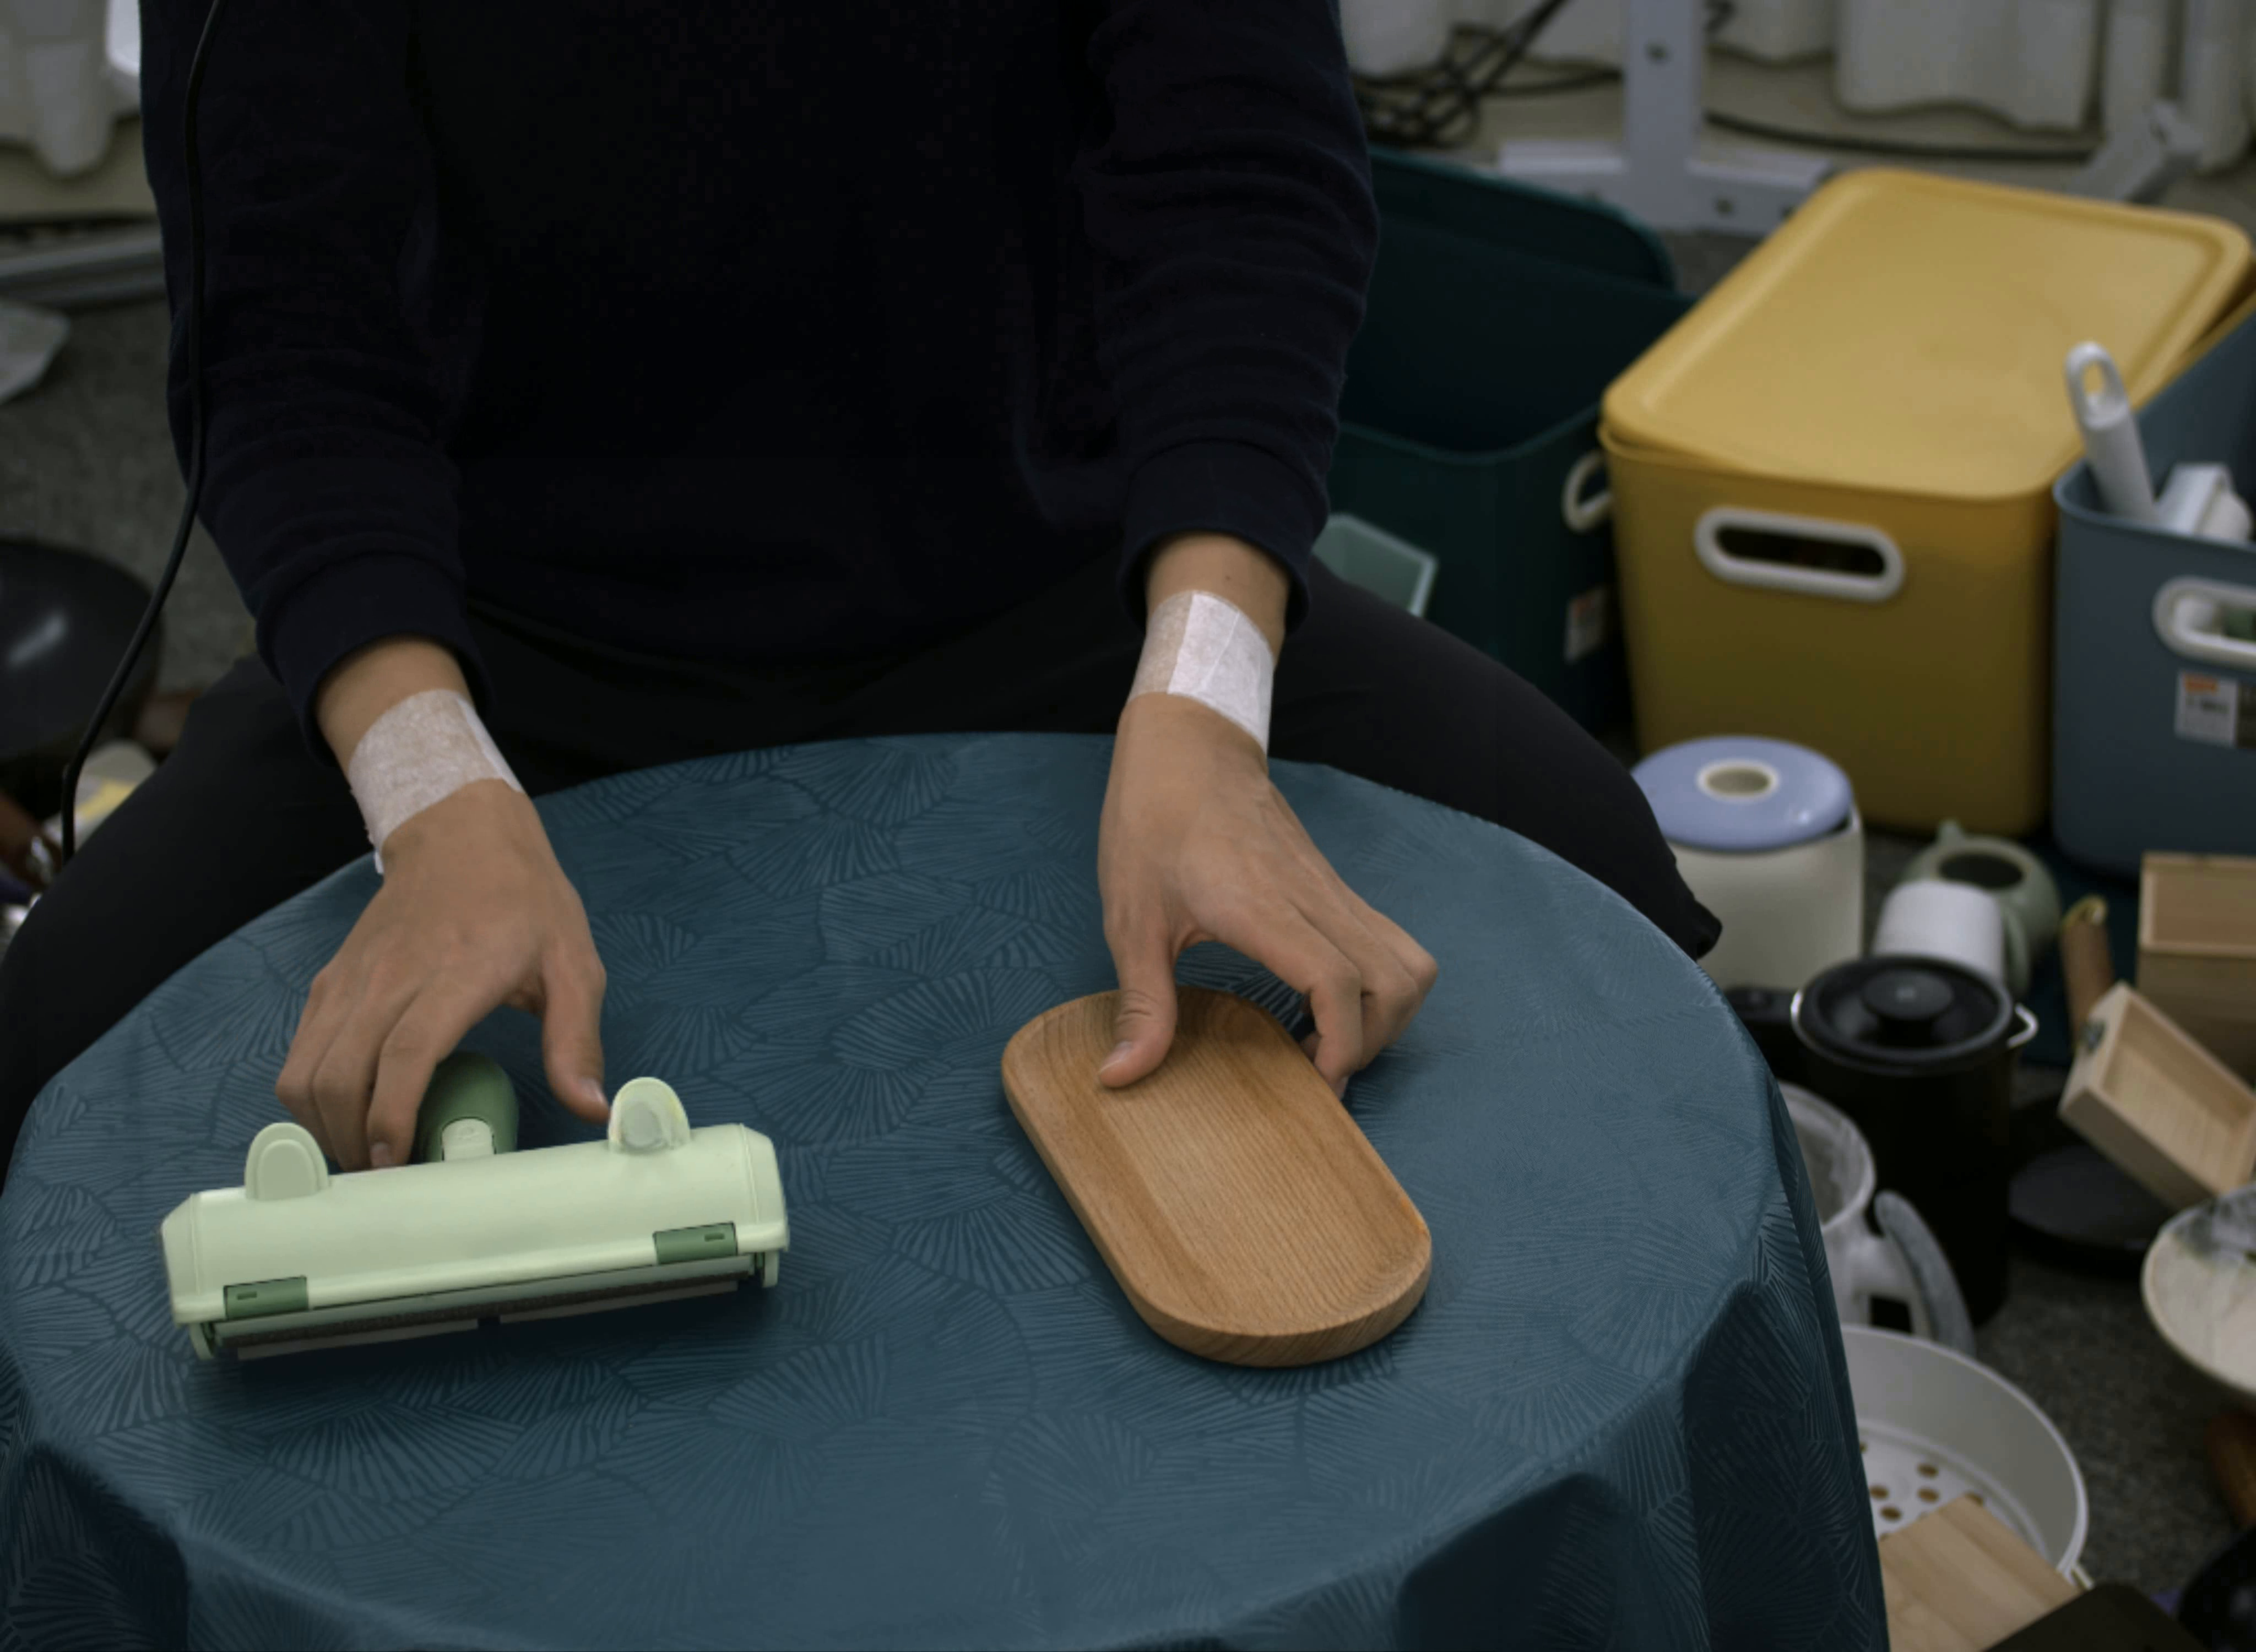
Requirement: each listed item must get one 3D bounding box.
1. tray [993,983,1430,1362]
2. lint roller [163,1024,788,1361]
[{"bbox_3d":[0.026,0.112,1.860,0.102,0.020,0.233,-11,27,-15],"label":"tray"},{"bbox_3d":[-0.218,0.097,1.839,0.198,0.081,0.186,-7,33,-9],"label":"lint roller"}]
